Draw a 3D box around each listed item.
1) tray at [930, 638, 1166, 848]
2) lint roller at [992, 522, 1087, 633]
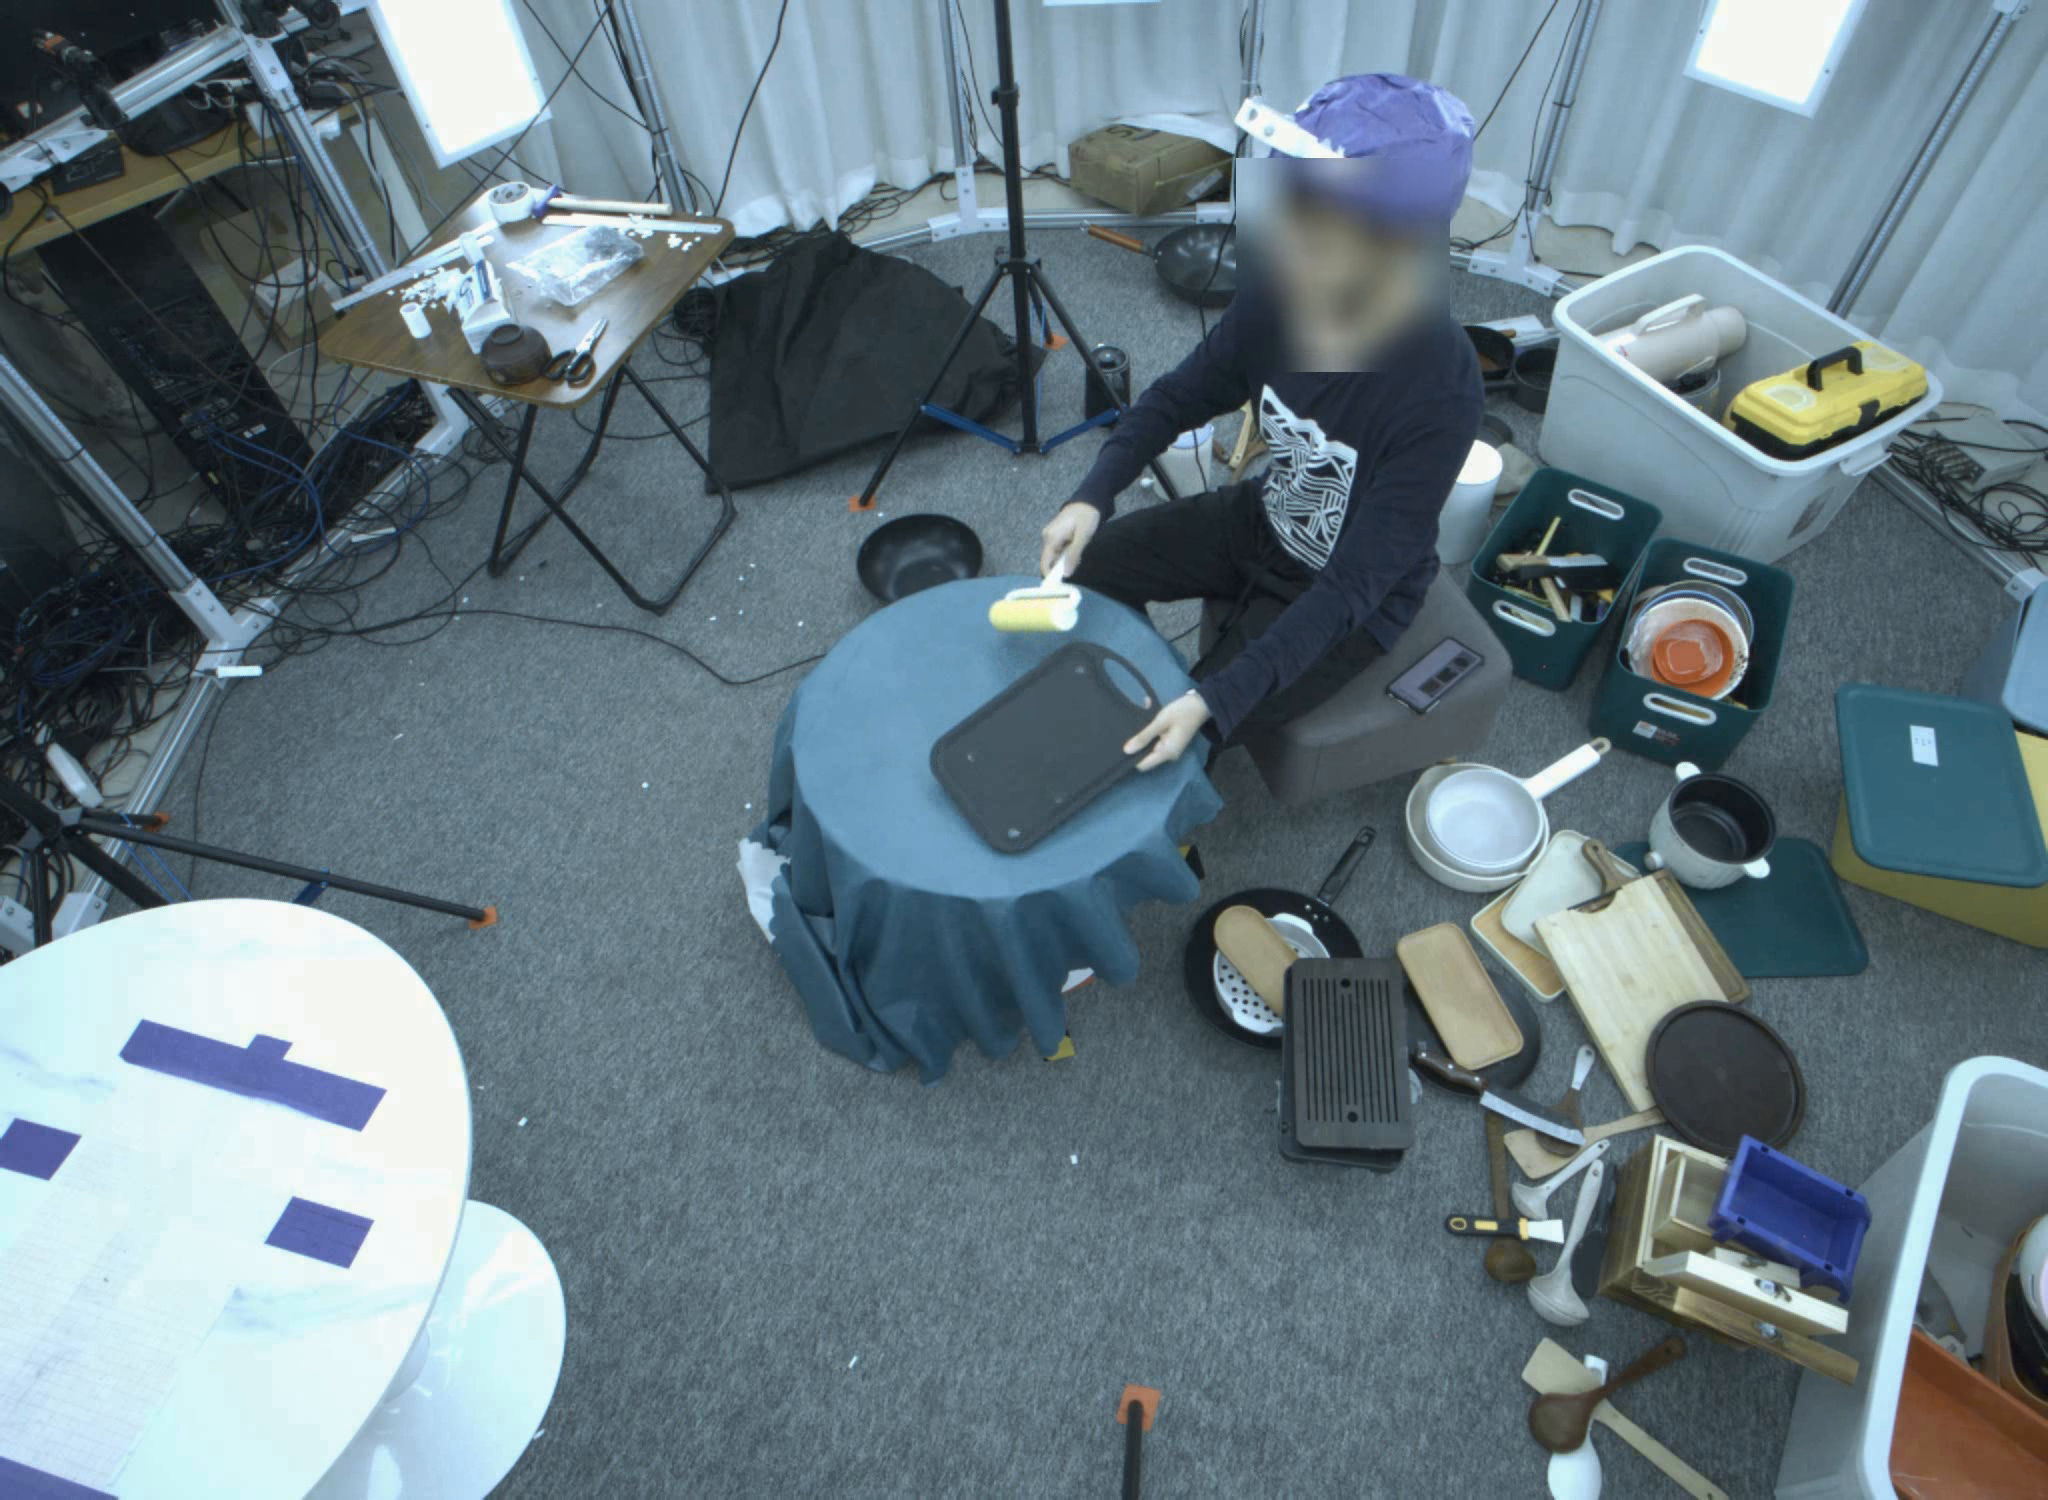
[{"bbox_3d":[0.040,-0.020,1.738,0.327,0.010,0.209,-36,74,-11],"label":"tray"},{"bbox_3d":[0.042,-0.266,1.845,0.170,0.052,0.192,5,72,52],"label":"lint roller"}]
